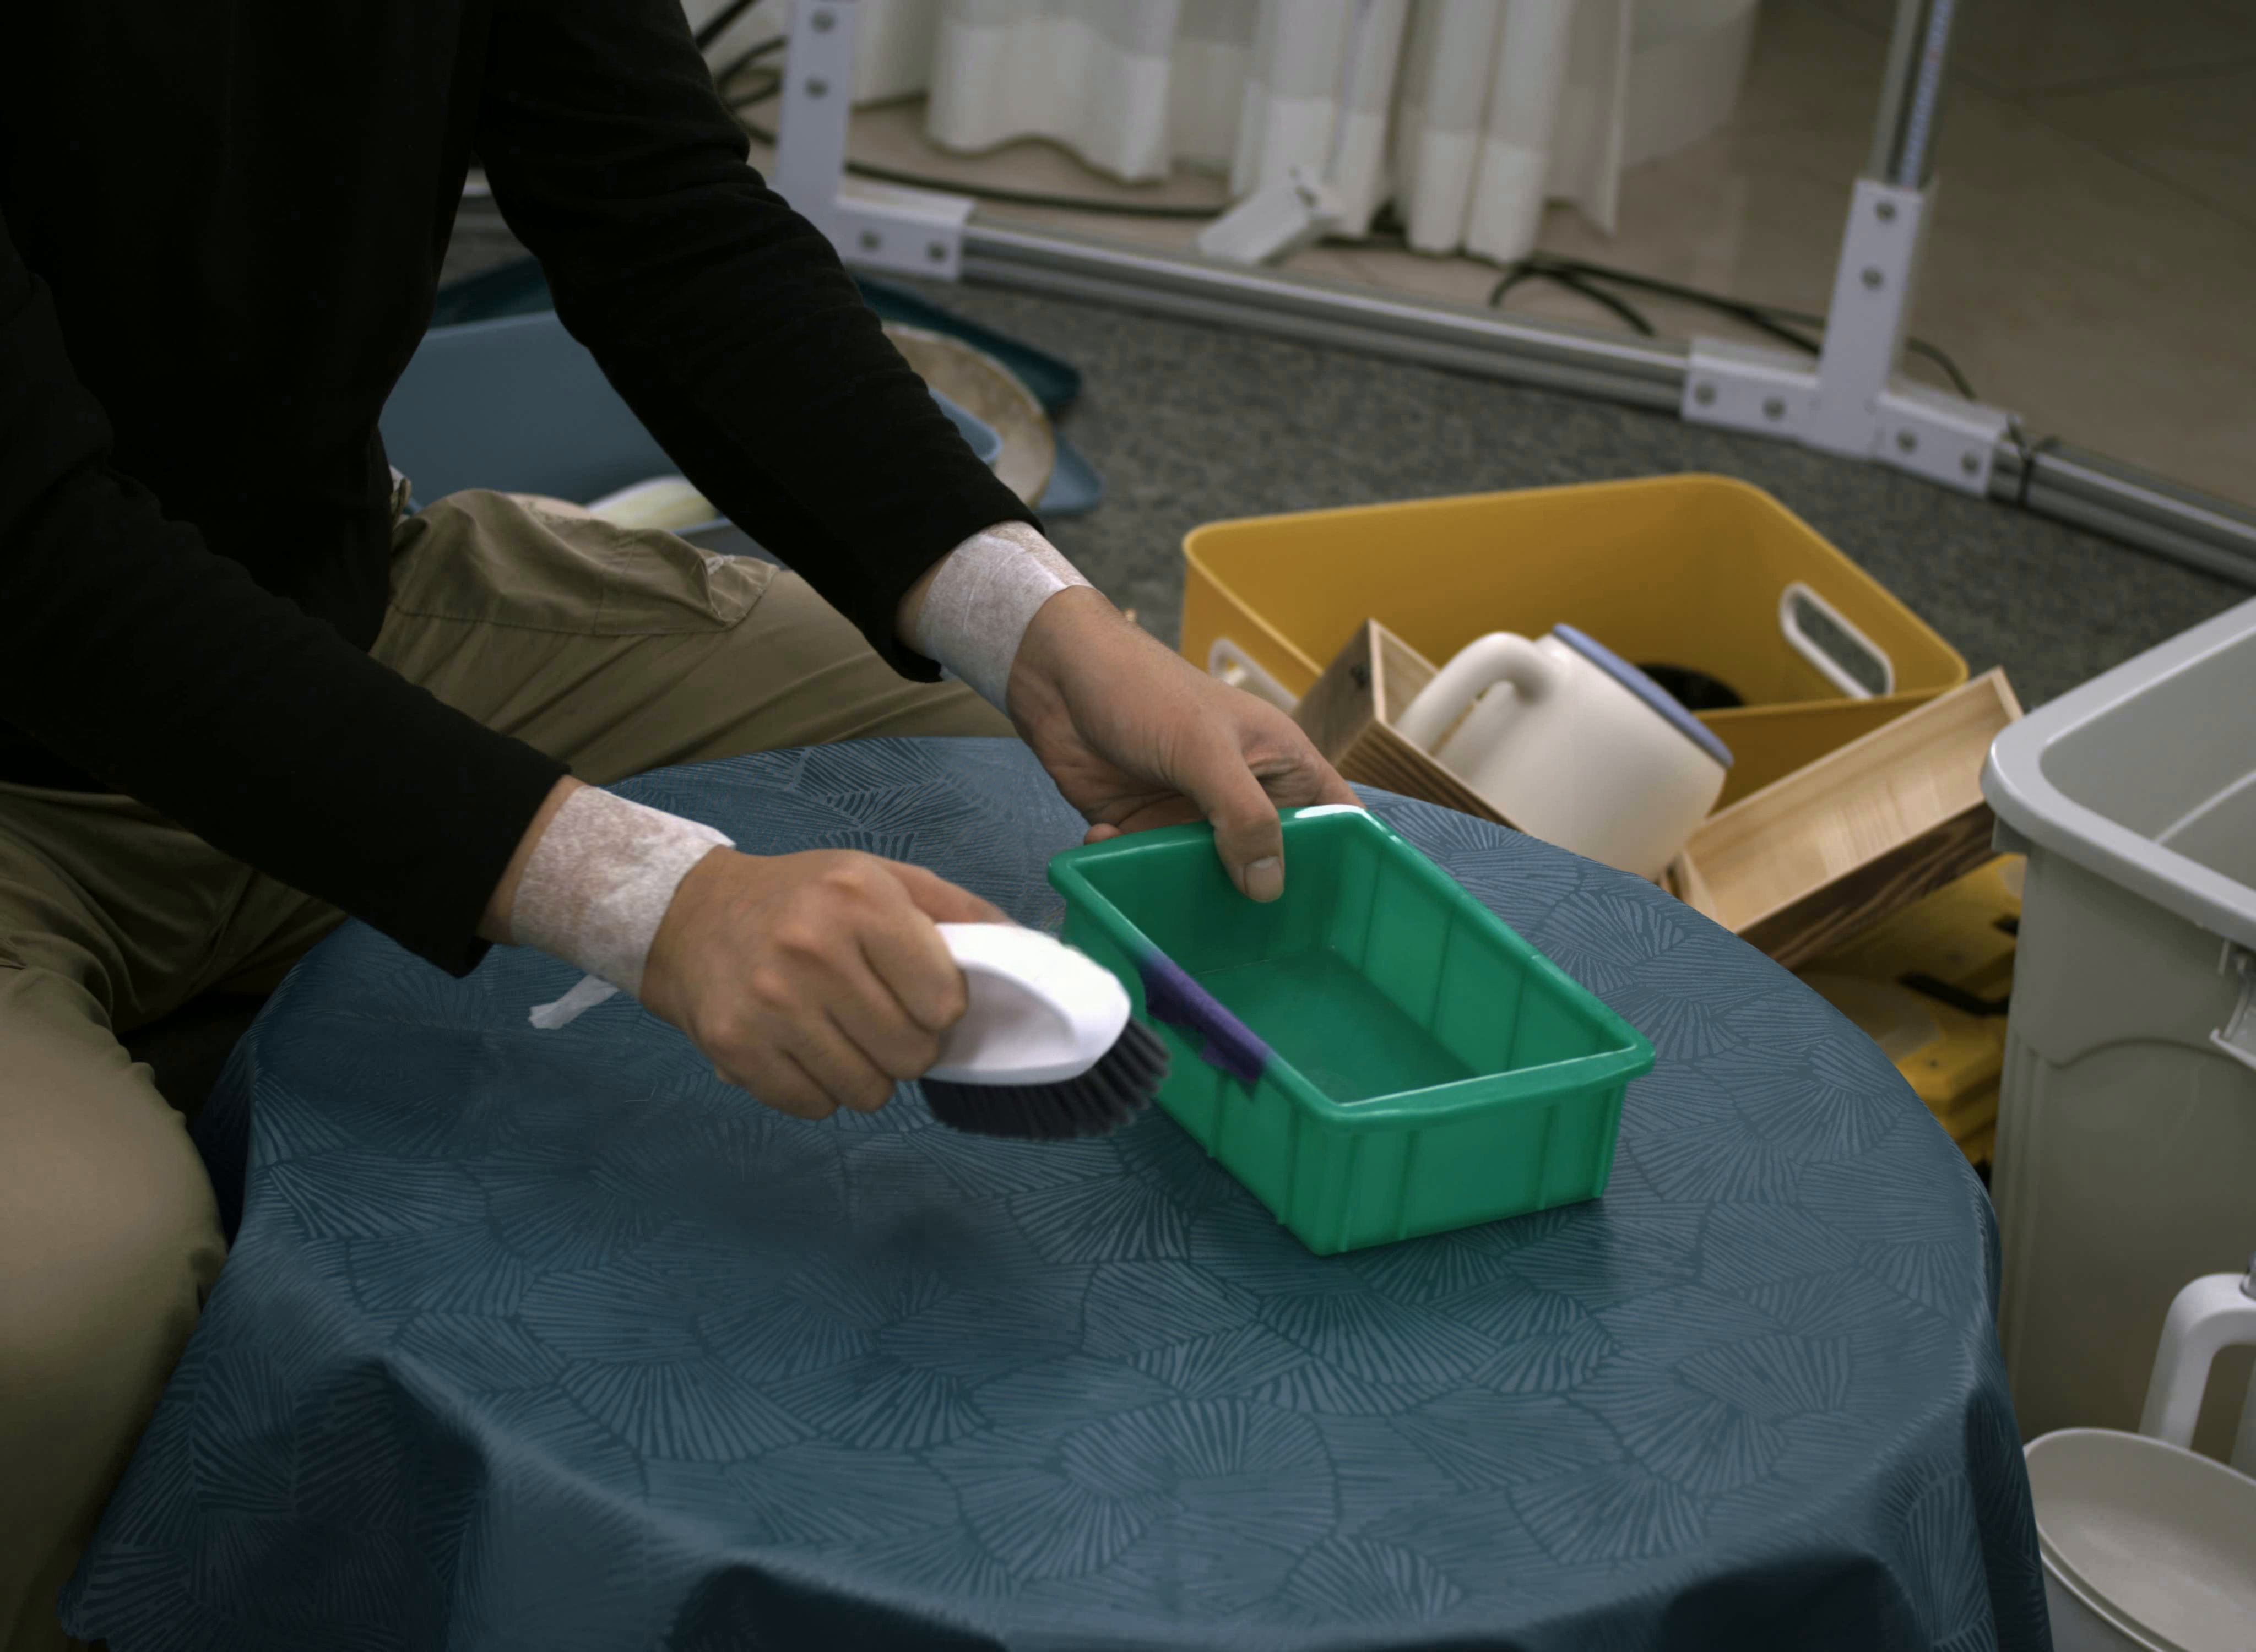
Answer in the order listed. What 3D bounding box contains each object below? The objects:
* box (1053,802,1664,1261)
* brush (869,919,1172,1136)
[{"bbox_3d":[0.075,0.071,1.852,0.138,0.065,0.212,-12,33,-29],"label":"box"},{"bbox_3d":[-0.042,0.059,1.731,0.100,0.072,0.050,2,50,46],"label":"brush"}]
